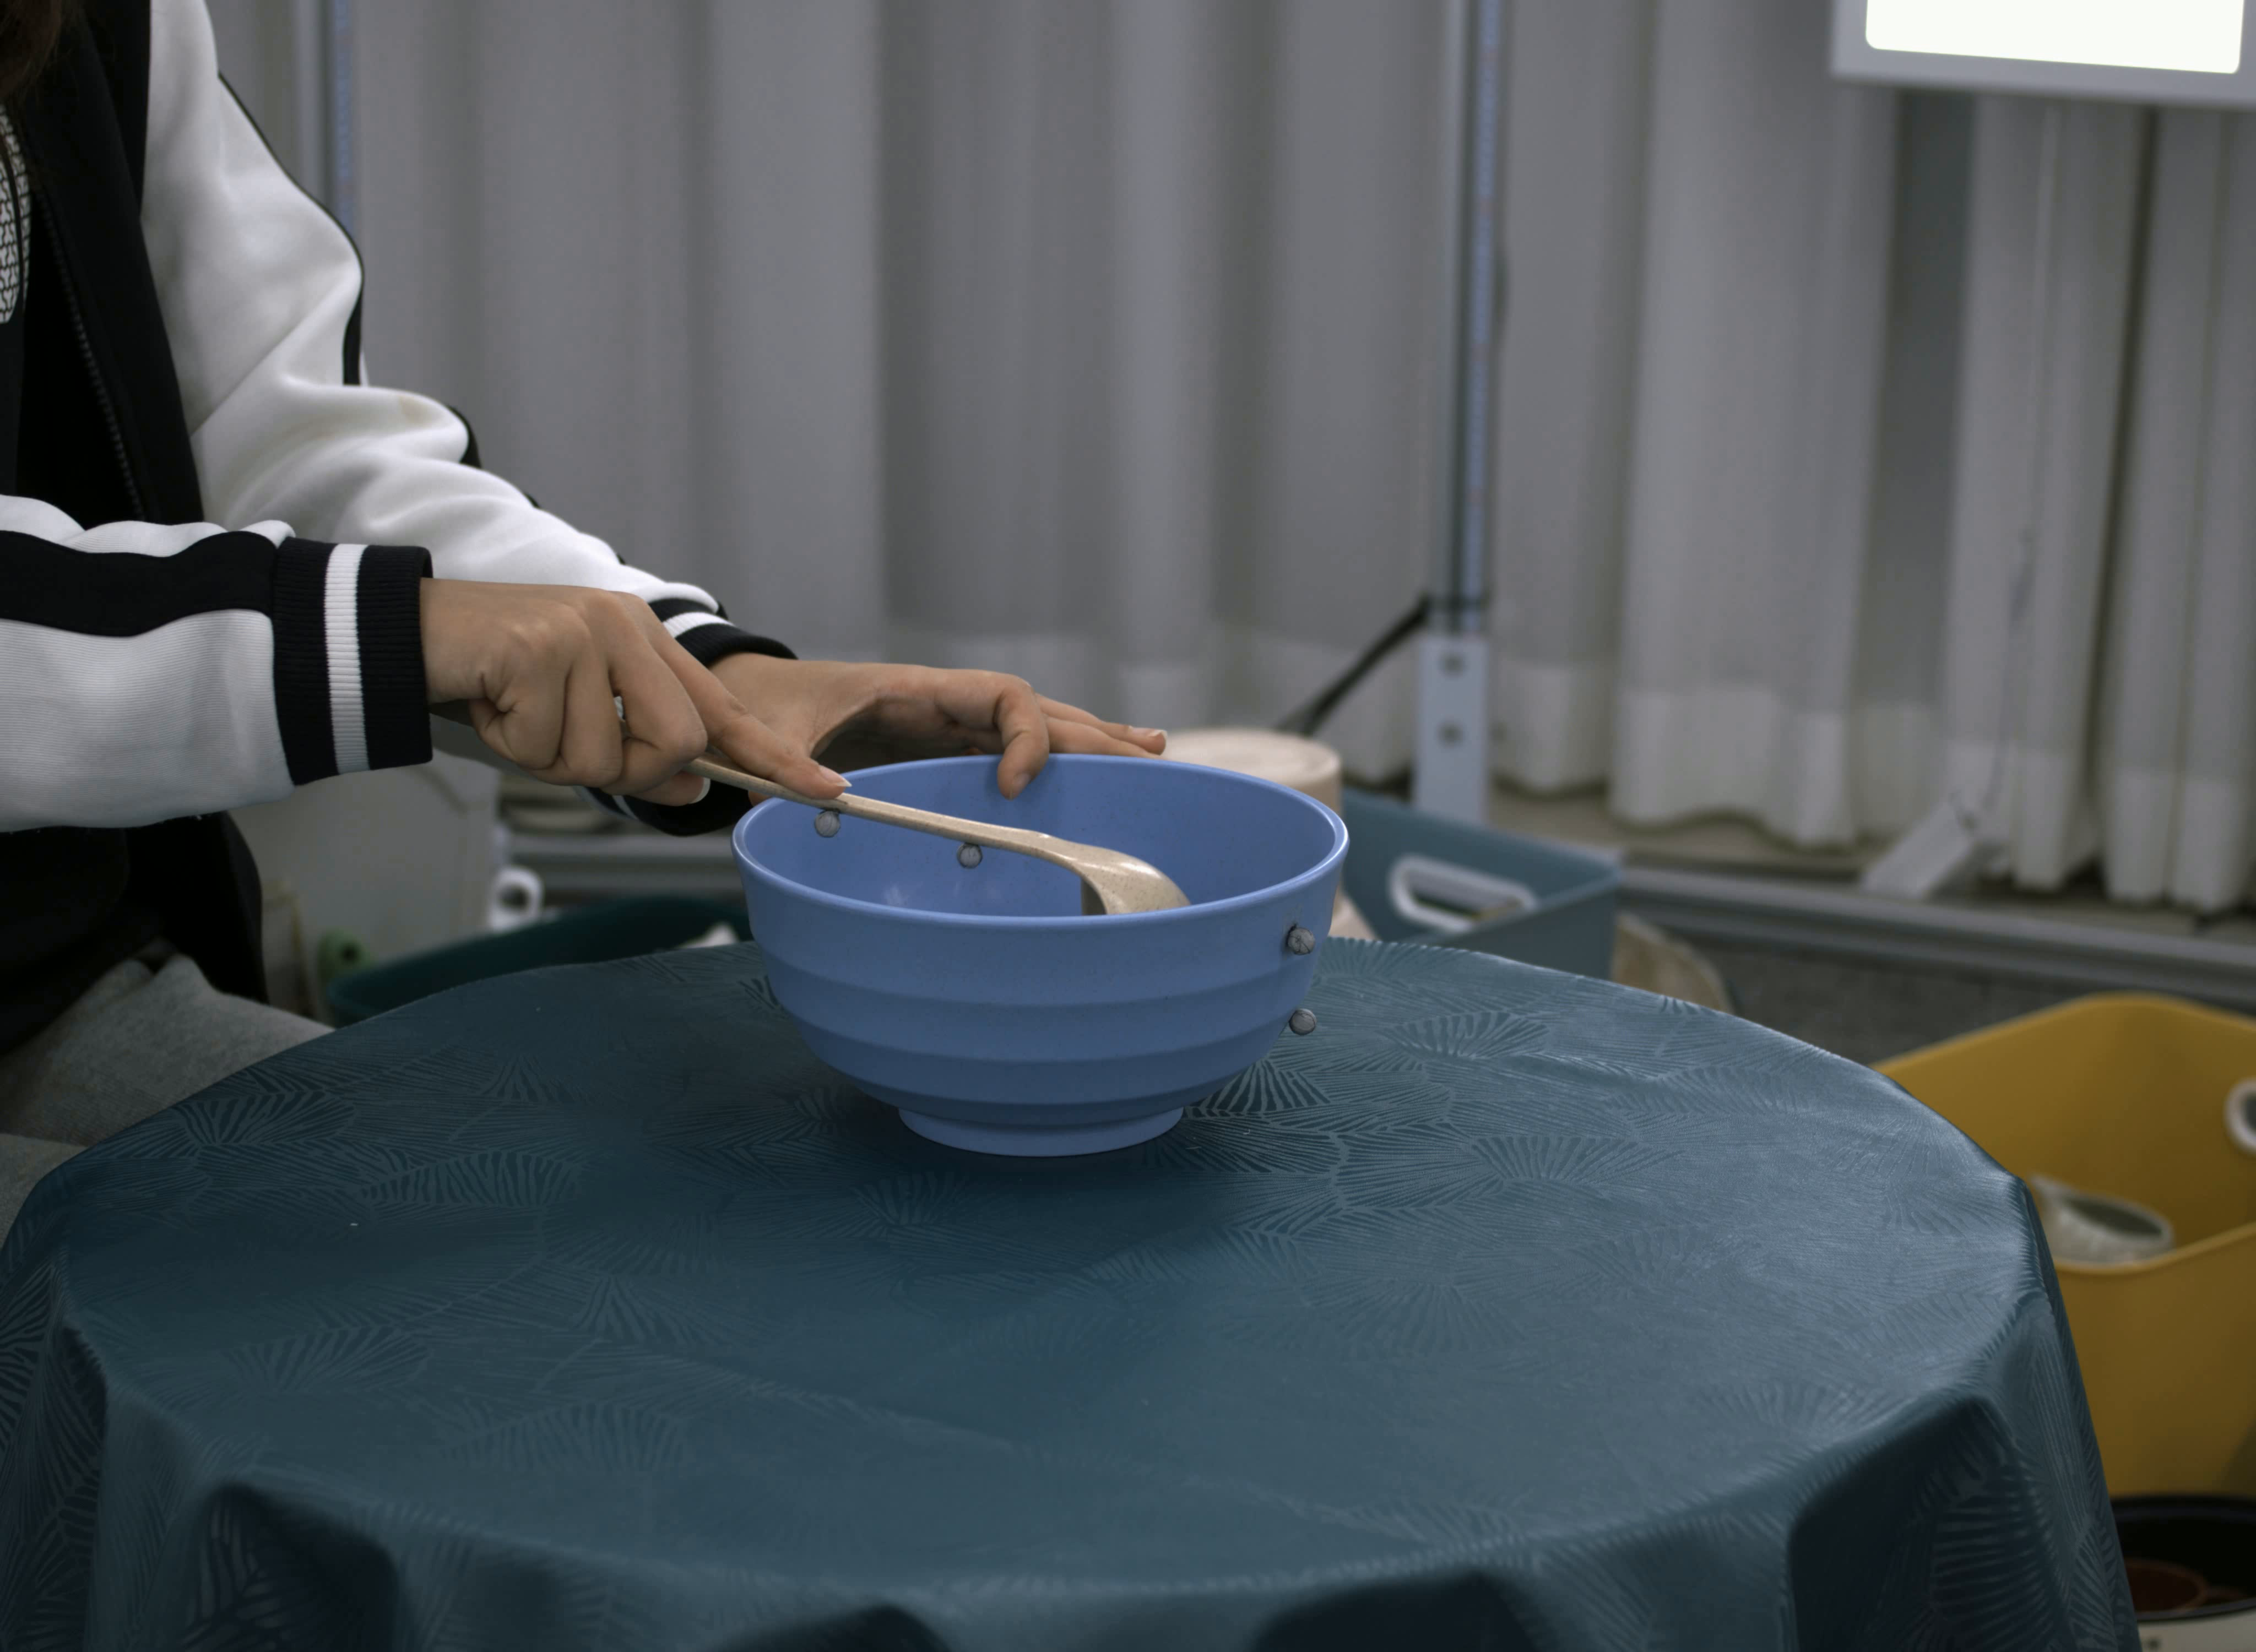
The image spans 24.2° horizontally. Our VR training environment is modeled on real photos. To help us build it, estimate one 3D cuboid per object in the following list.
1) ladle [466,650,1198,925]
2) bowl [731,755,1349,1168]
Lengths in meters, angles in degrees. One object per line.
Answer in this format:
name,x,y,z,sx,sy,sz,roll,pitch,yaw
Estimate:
ladle,-0.097,0.016,1.653,0.255,0.073,0.071,17,17,-13
bowl,-0.027,0.049,1.681,0.196,0.096,0.195,-1,17,1
